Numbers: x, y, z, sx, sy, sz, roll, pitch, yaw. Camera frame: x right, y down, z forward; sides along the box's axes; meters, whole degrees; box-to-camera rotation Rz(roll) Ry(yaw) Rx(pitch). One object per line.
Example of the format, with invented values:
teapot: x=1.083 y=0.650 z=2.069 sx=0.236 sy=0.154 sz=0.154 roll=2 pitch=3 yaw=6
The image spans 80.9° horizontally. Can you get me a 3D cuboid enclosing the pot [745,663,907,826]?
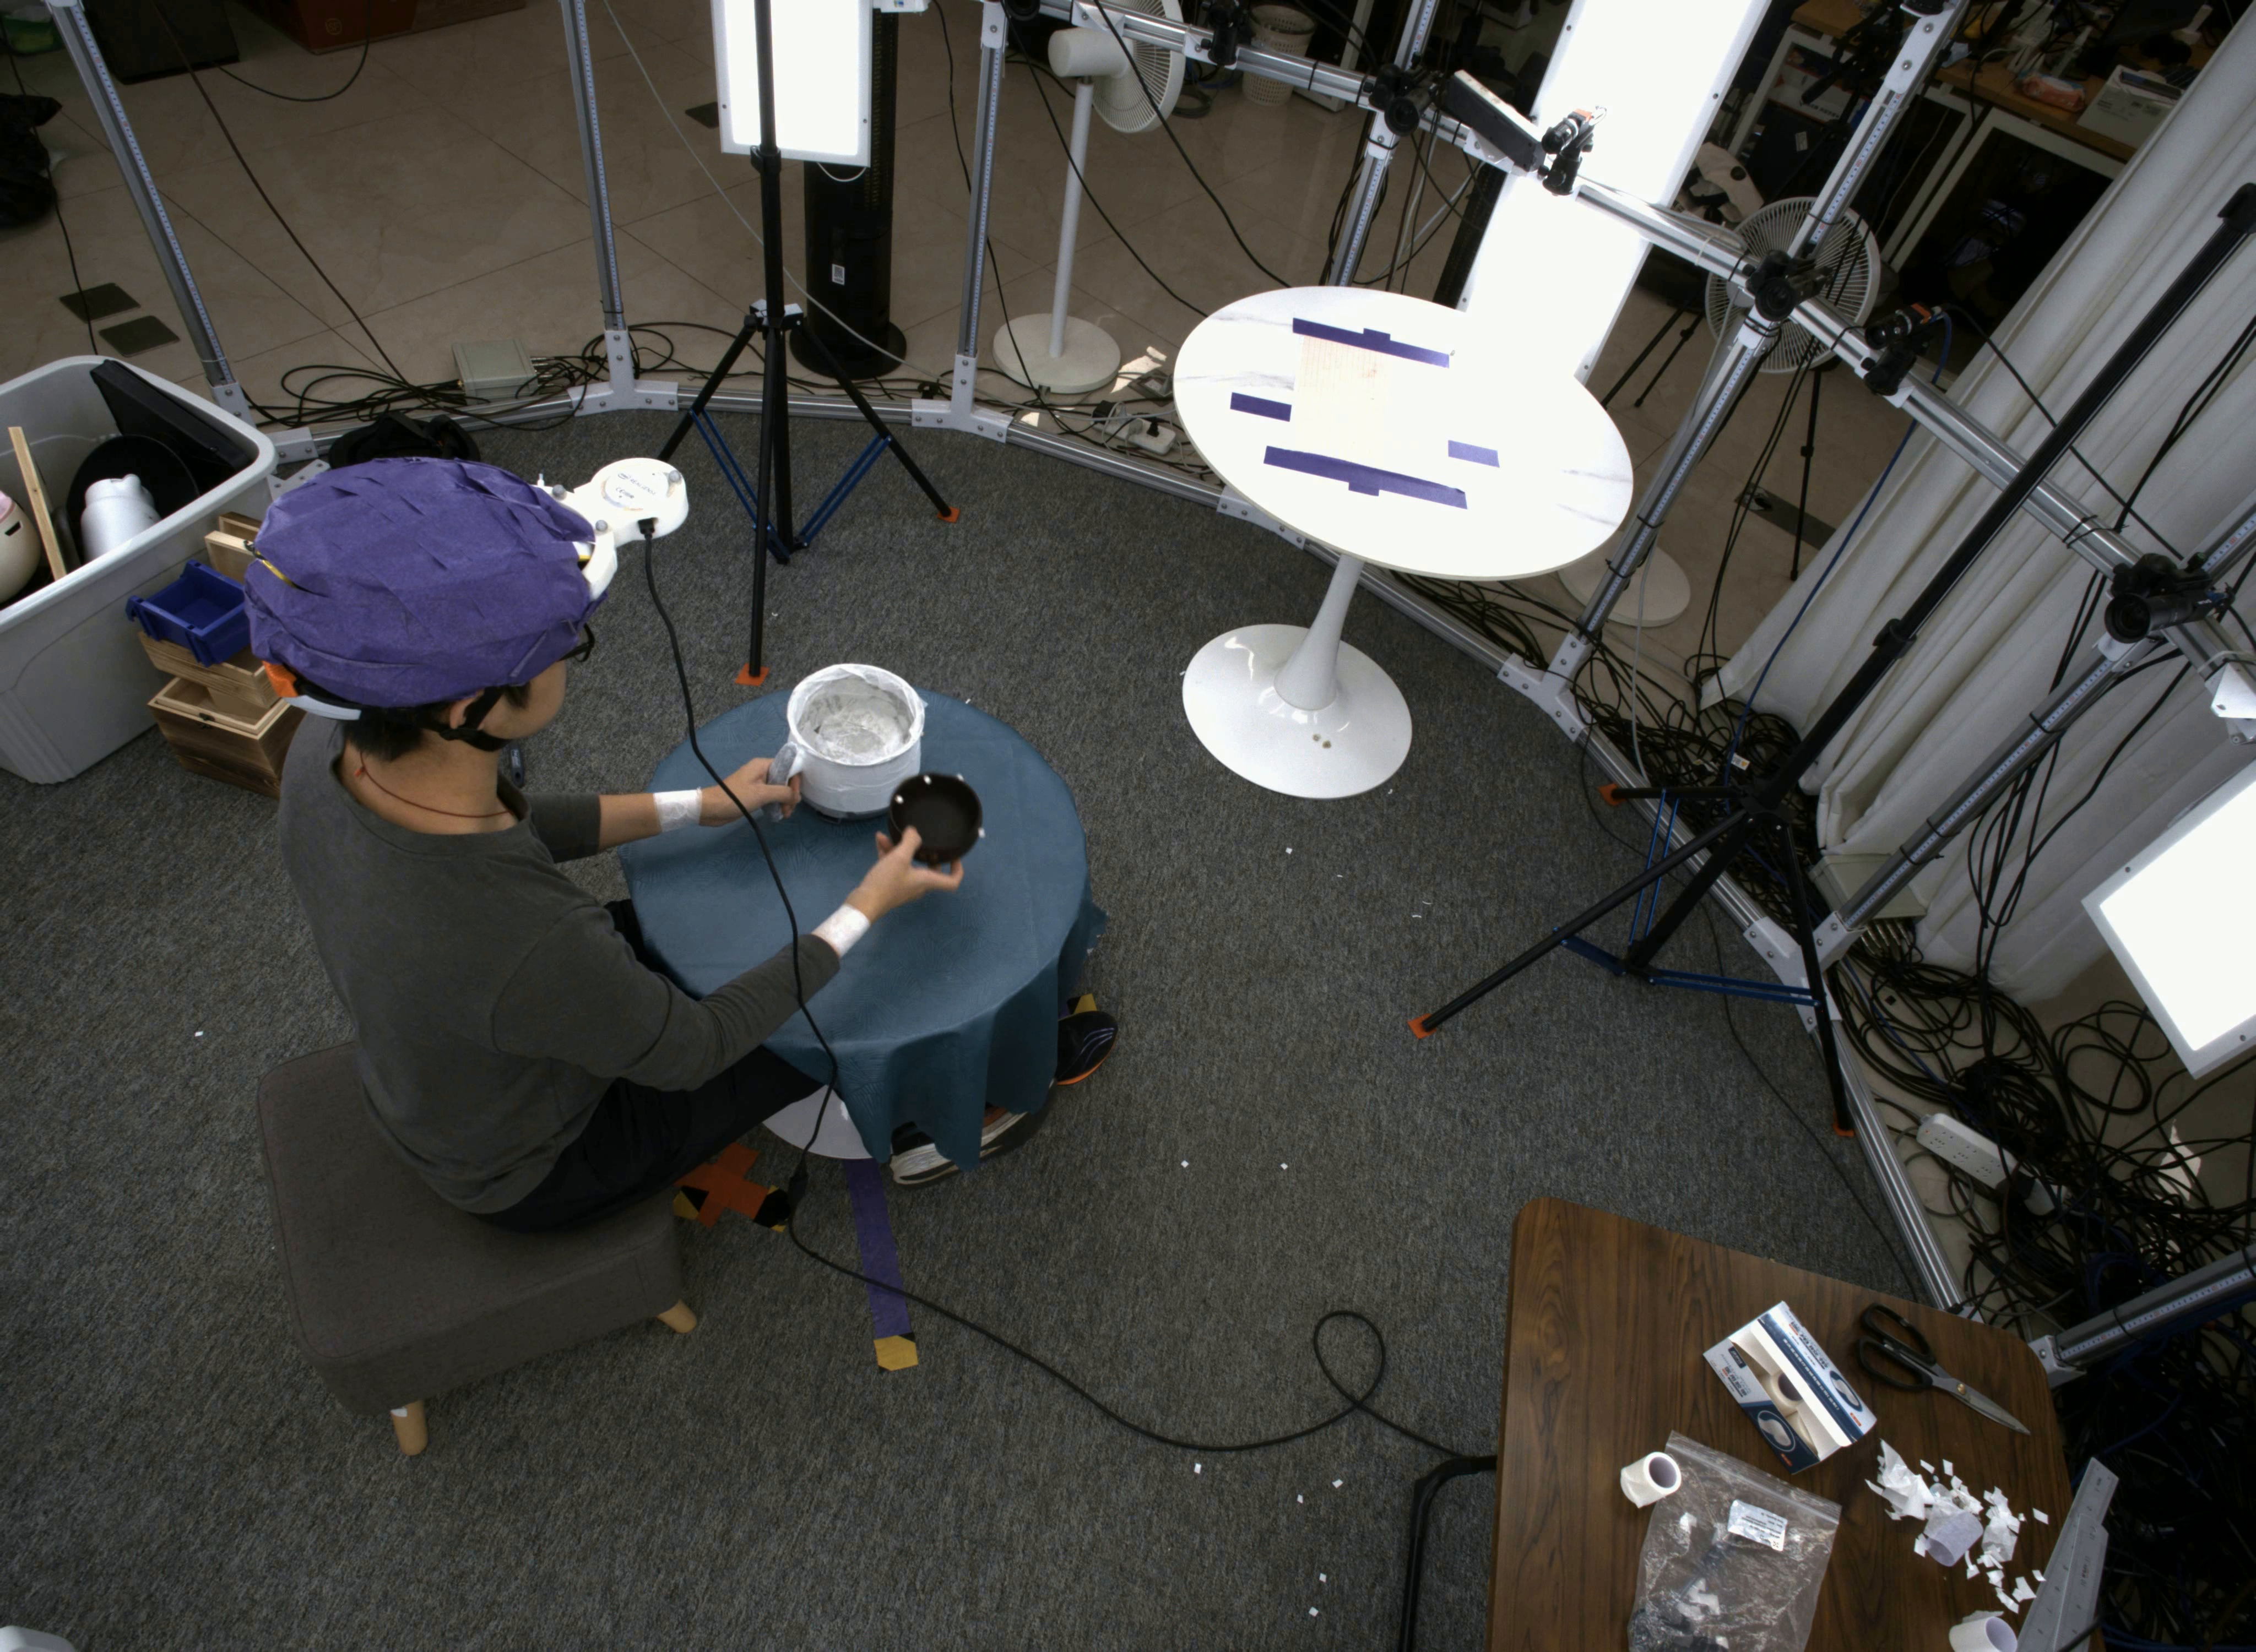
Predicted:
pot: x=-0.405 y=-0.094 z=1.720 sx=0.175 sy=0.139 sz=0.234 roll=41 pitch=55 yaw=18

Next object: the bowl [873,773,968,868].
bowl: x=-0.261 y=0.000 z=1.630 sx=0.118 sy=0.071 sz=0.116 roll=7 pitch=60 yaw=-10
